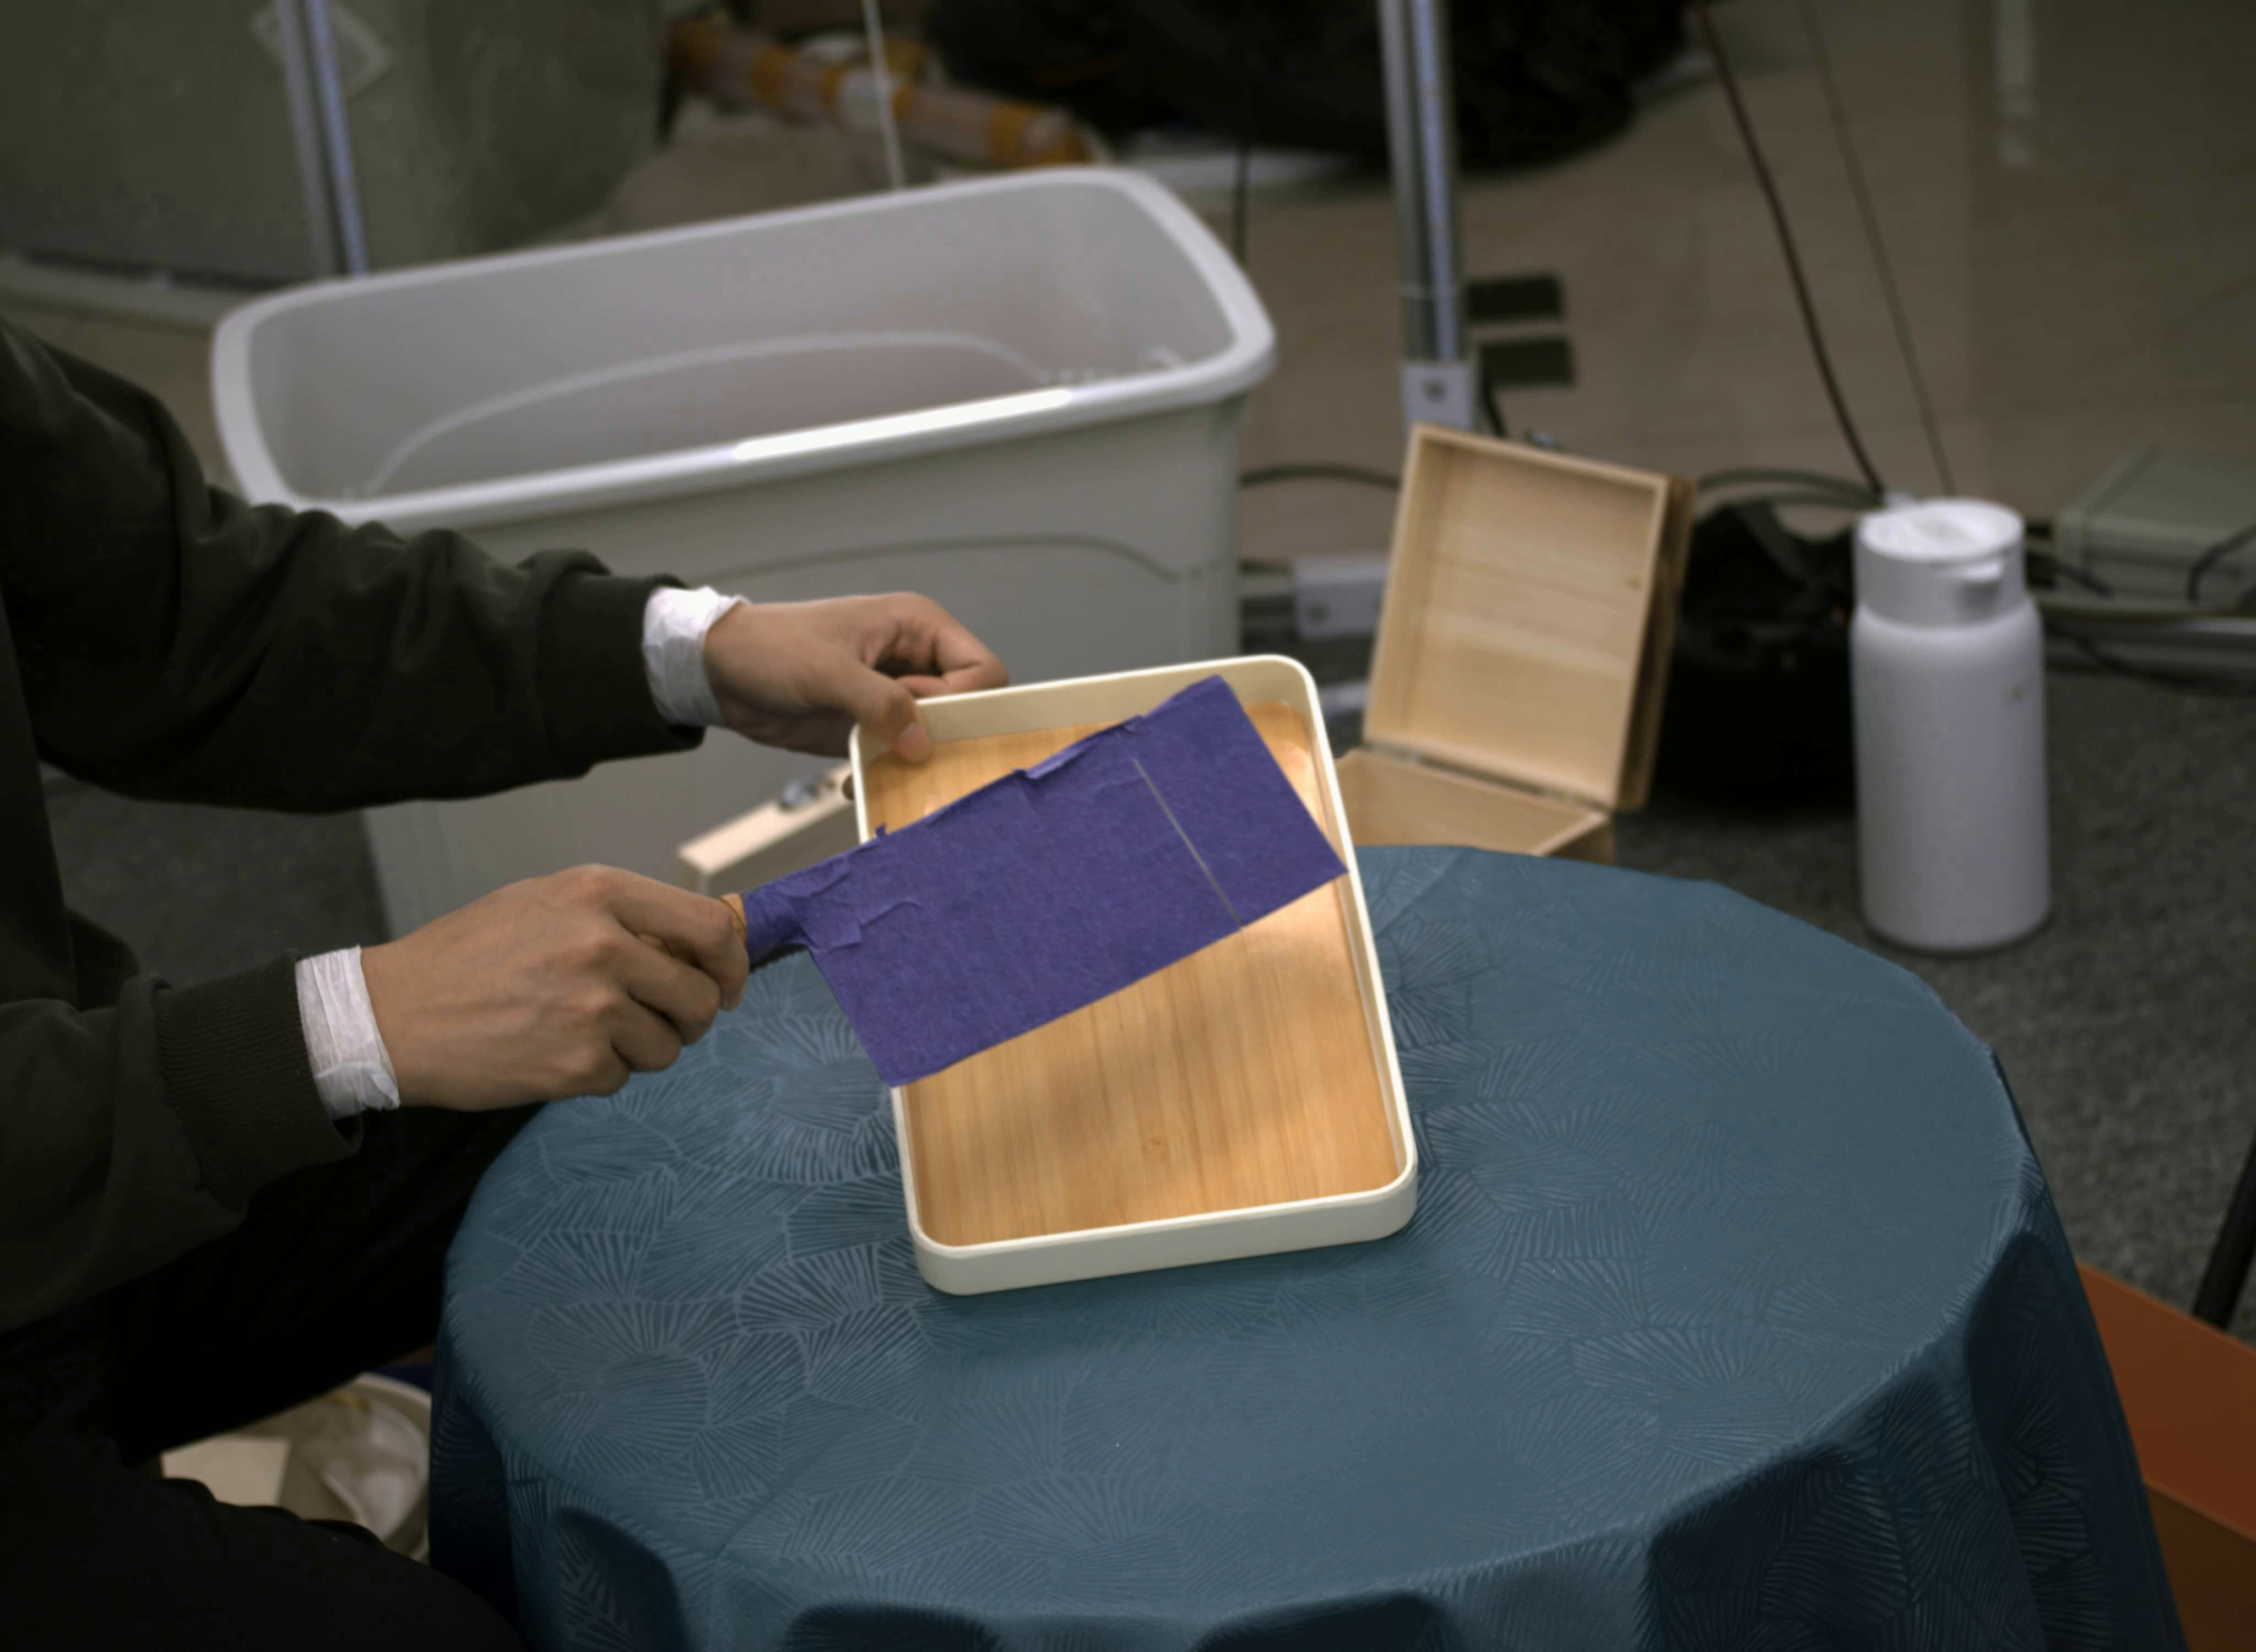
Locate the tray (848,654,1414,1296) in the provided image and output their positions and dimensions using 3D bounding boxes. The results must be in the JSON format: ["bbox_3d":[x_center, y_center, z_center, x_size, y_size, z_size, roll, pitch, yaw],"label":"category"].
[{"bbox_3d":[-0.003,0.052,2.190,0.191,0.028,0.295,-8,45,-2],"label":"tray"}]

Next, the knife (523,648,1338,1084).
[{"bbox_3d":[-0.064,0.036,2.061,0.313,0.032,0.103,-27,77,-22],"label":"knife"}]
